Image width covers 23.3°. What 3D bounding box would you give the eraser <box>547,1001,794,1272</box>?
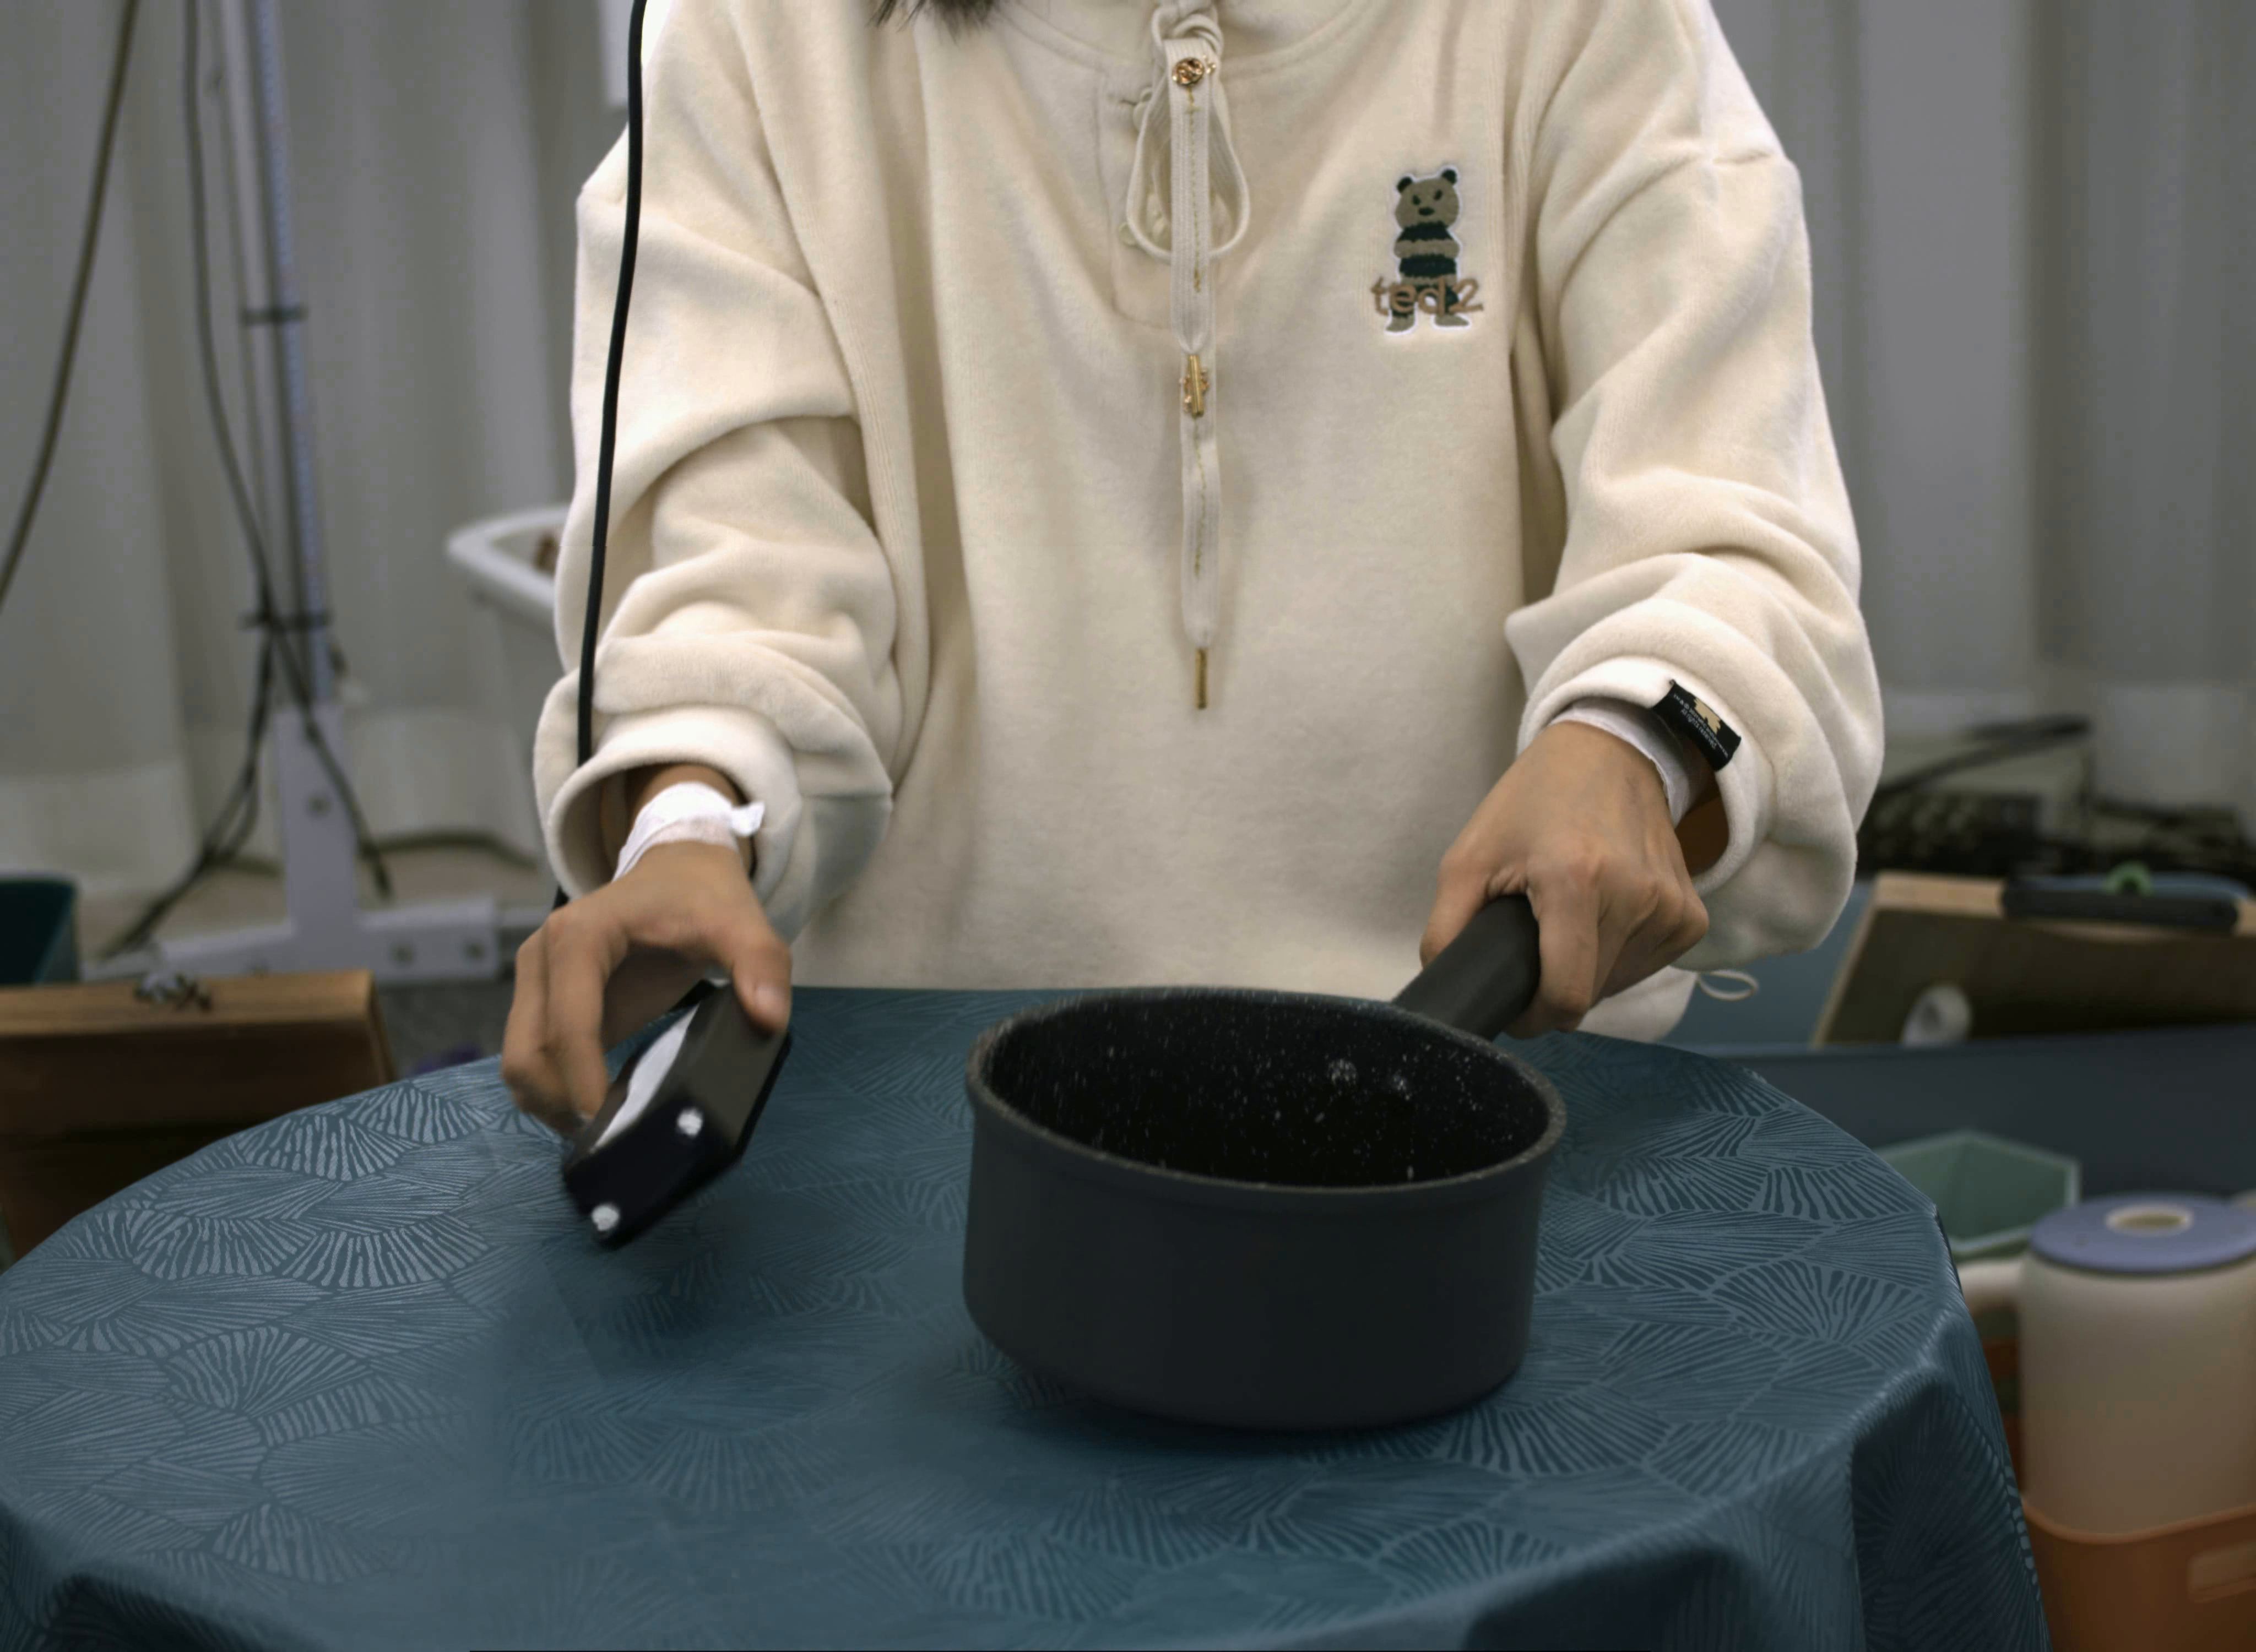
[{"bbox_3d":[-0.136,0.092,1.648,0.053,0.030,0.126,-34,9,13],"label":"eraser"}]

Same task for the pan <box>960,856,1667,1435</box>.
[{"bbox_3d":[0.074,0.089,1.618,0.172,0.086,0.329,12,20,27],"label":"pan"}]
